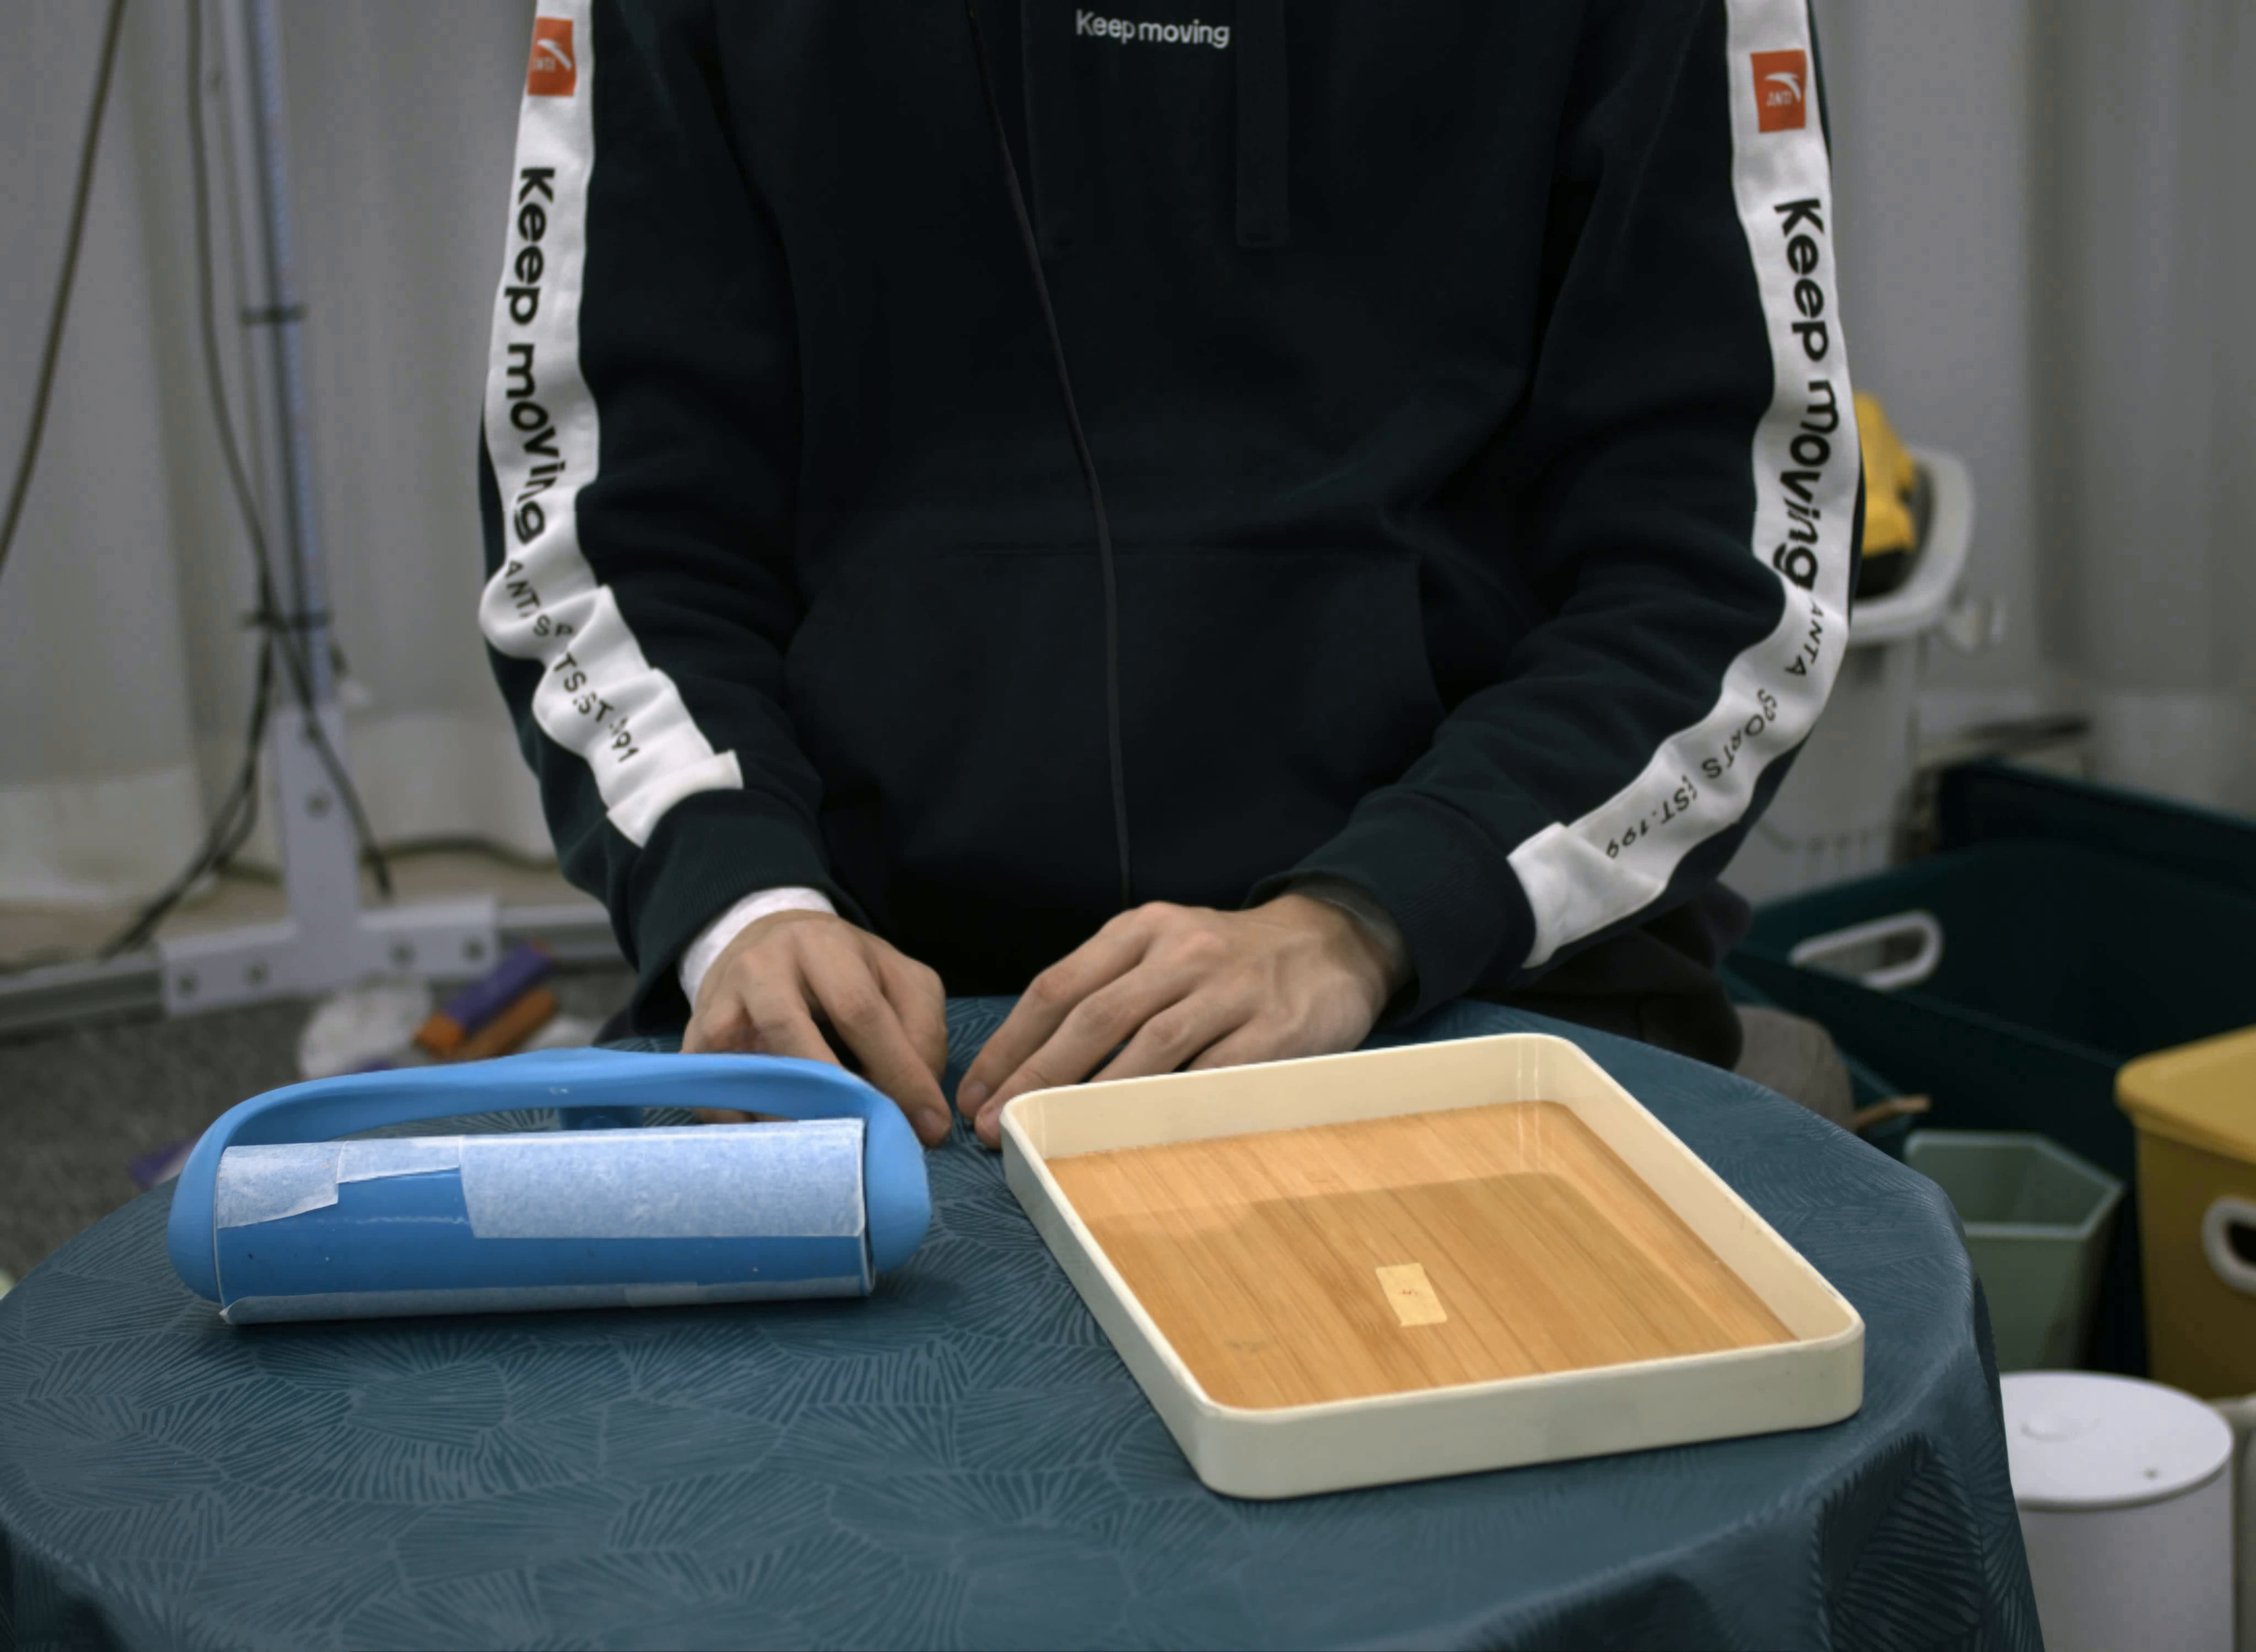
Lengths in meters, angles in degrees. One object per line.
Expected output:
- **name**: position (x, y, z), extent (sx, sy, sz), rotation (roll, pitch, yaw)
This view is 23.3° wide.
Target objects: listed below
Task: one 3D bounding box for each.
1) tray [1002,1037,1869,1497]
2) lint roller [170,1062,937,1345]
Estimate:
- **tray**: position (0.082, 0.125, 1.609), extent (0.191, 0.027, 0.302), rotation (-6, 15, -11)
- **lint roller**: position (-0.175, 0.104, 1.686), extent (0.228, 0.067, 0.181), rotation (-6, 16, -2)
